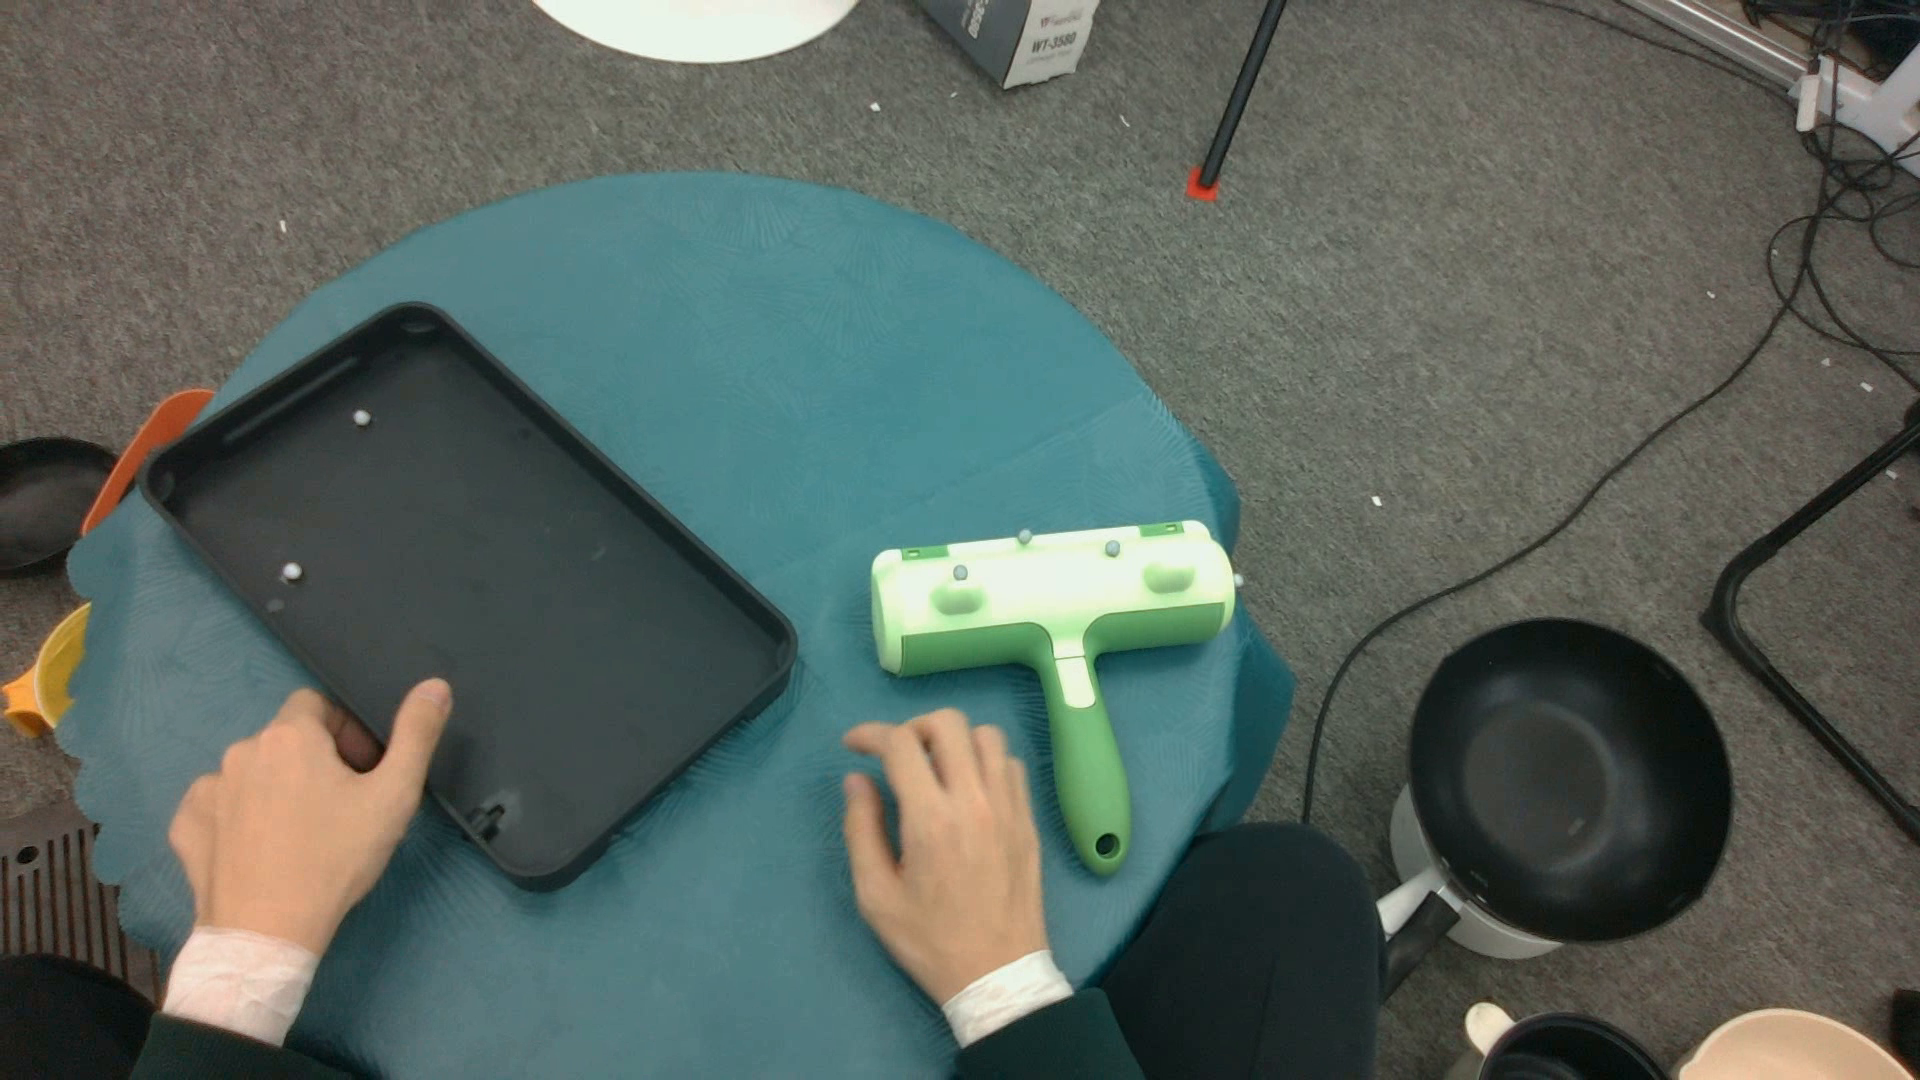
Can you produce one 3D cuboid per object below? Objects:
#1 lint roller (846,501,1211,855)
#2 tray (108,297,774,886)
[{"bbox_3d":[0.051,0.065,0.715,0.199,0.082,0.184,-6,58,-13],"label":"lint roller"},{"bbox_3d":[-0.266,0.015,0.717,0.318,0.037,0.185,39,61,14],"label":"tray"}]
